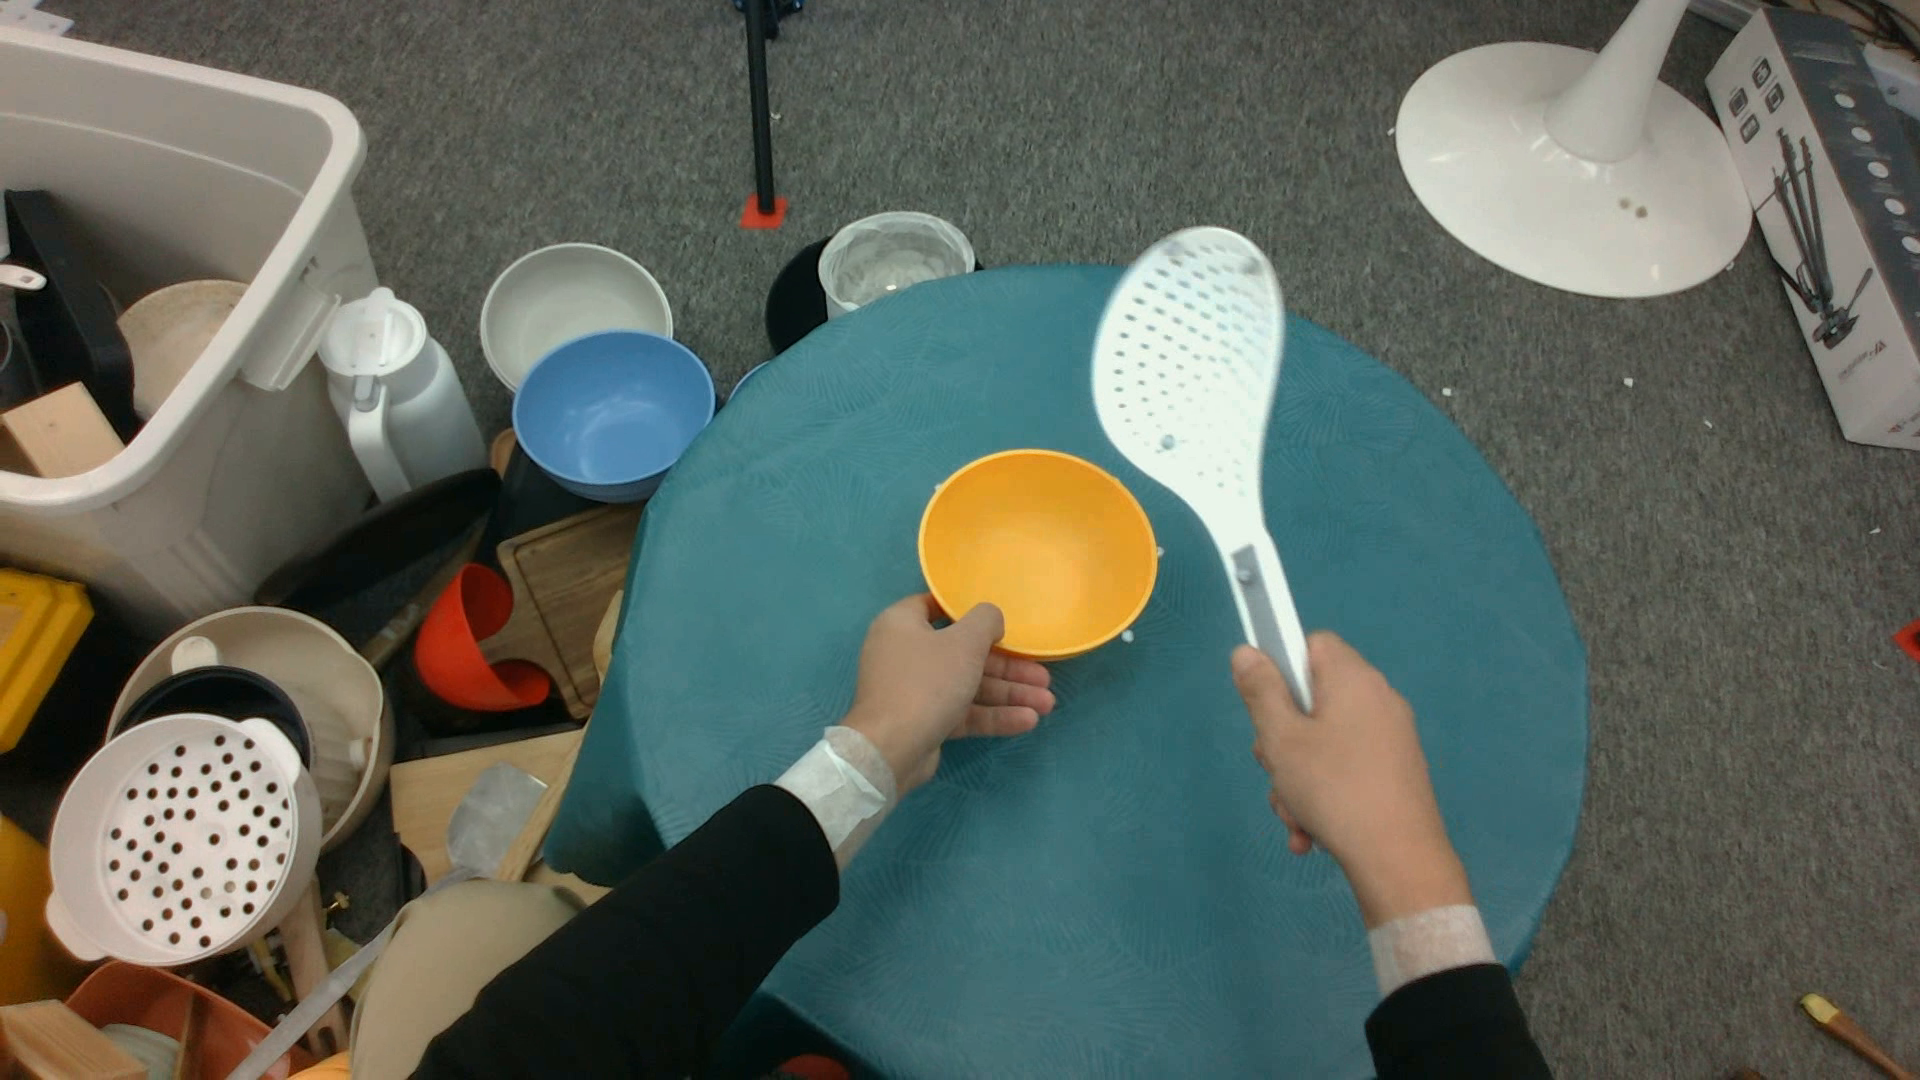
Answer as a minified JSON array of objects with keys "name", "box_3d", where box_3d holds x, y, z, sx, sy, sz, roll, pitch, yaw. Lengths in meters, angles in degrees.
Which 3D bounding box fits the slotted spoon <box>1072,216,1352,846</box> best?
[{"name":"slotted spoon","box_3d":[0.138,-0.013,0.724,0.046,0.135,0.351,9,58,-35]}]

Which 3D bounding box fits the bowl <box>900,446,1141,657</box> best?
[{"name":"bowl","box_3d":[0.034,0.017,0.844,0.145,0.060,0.146,2,57,-3]}]
